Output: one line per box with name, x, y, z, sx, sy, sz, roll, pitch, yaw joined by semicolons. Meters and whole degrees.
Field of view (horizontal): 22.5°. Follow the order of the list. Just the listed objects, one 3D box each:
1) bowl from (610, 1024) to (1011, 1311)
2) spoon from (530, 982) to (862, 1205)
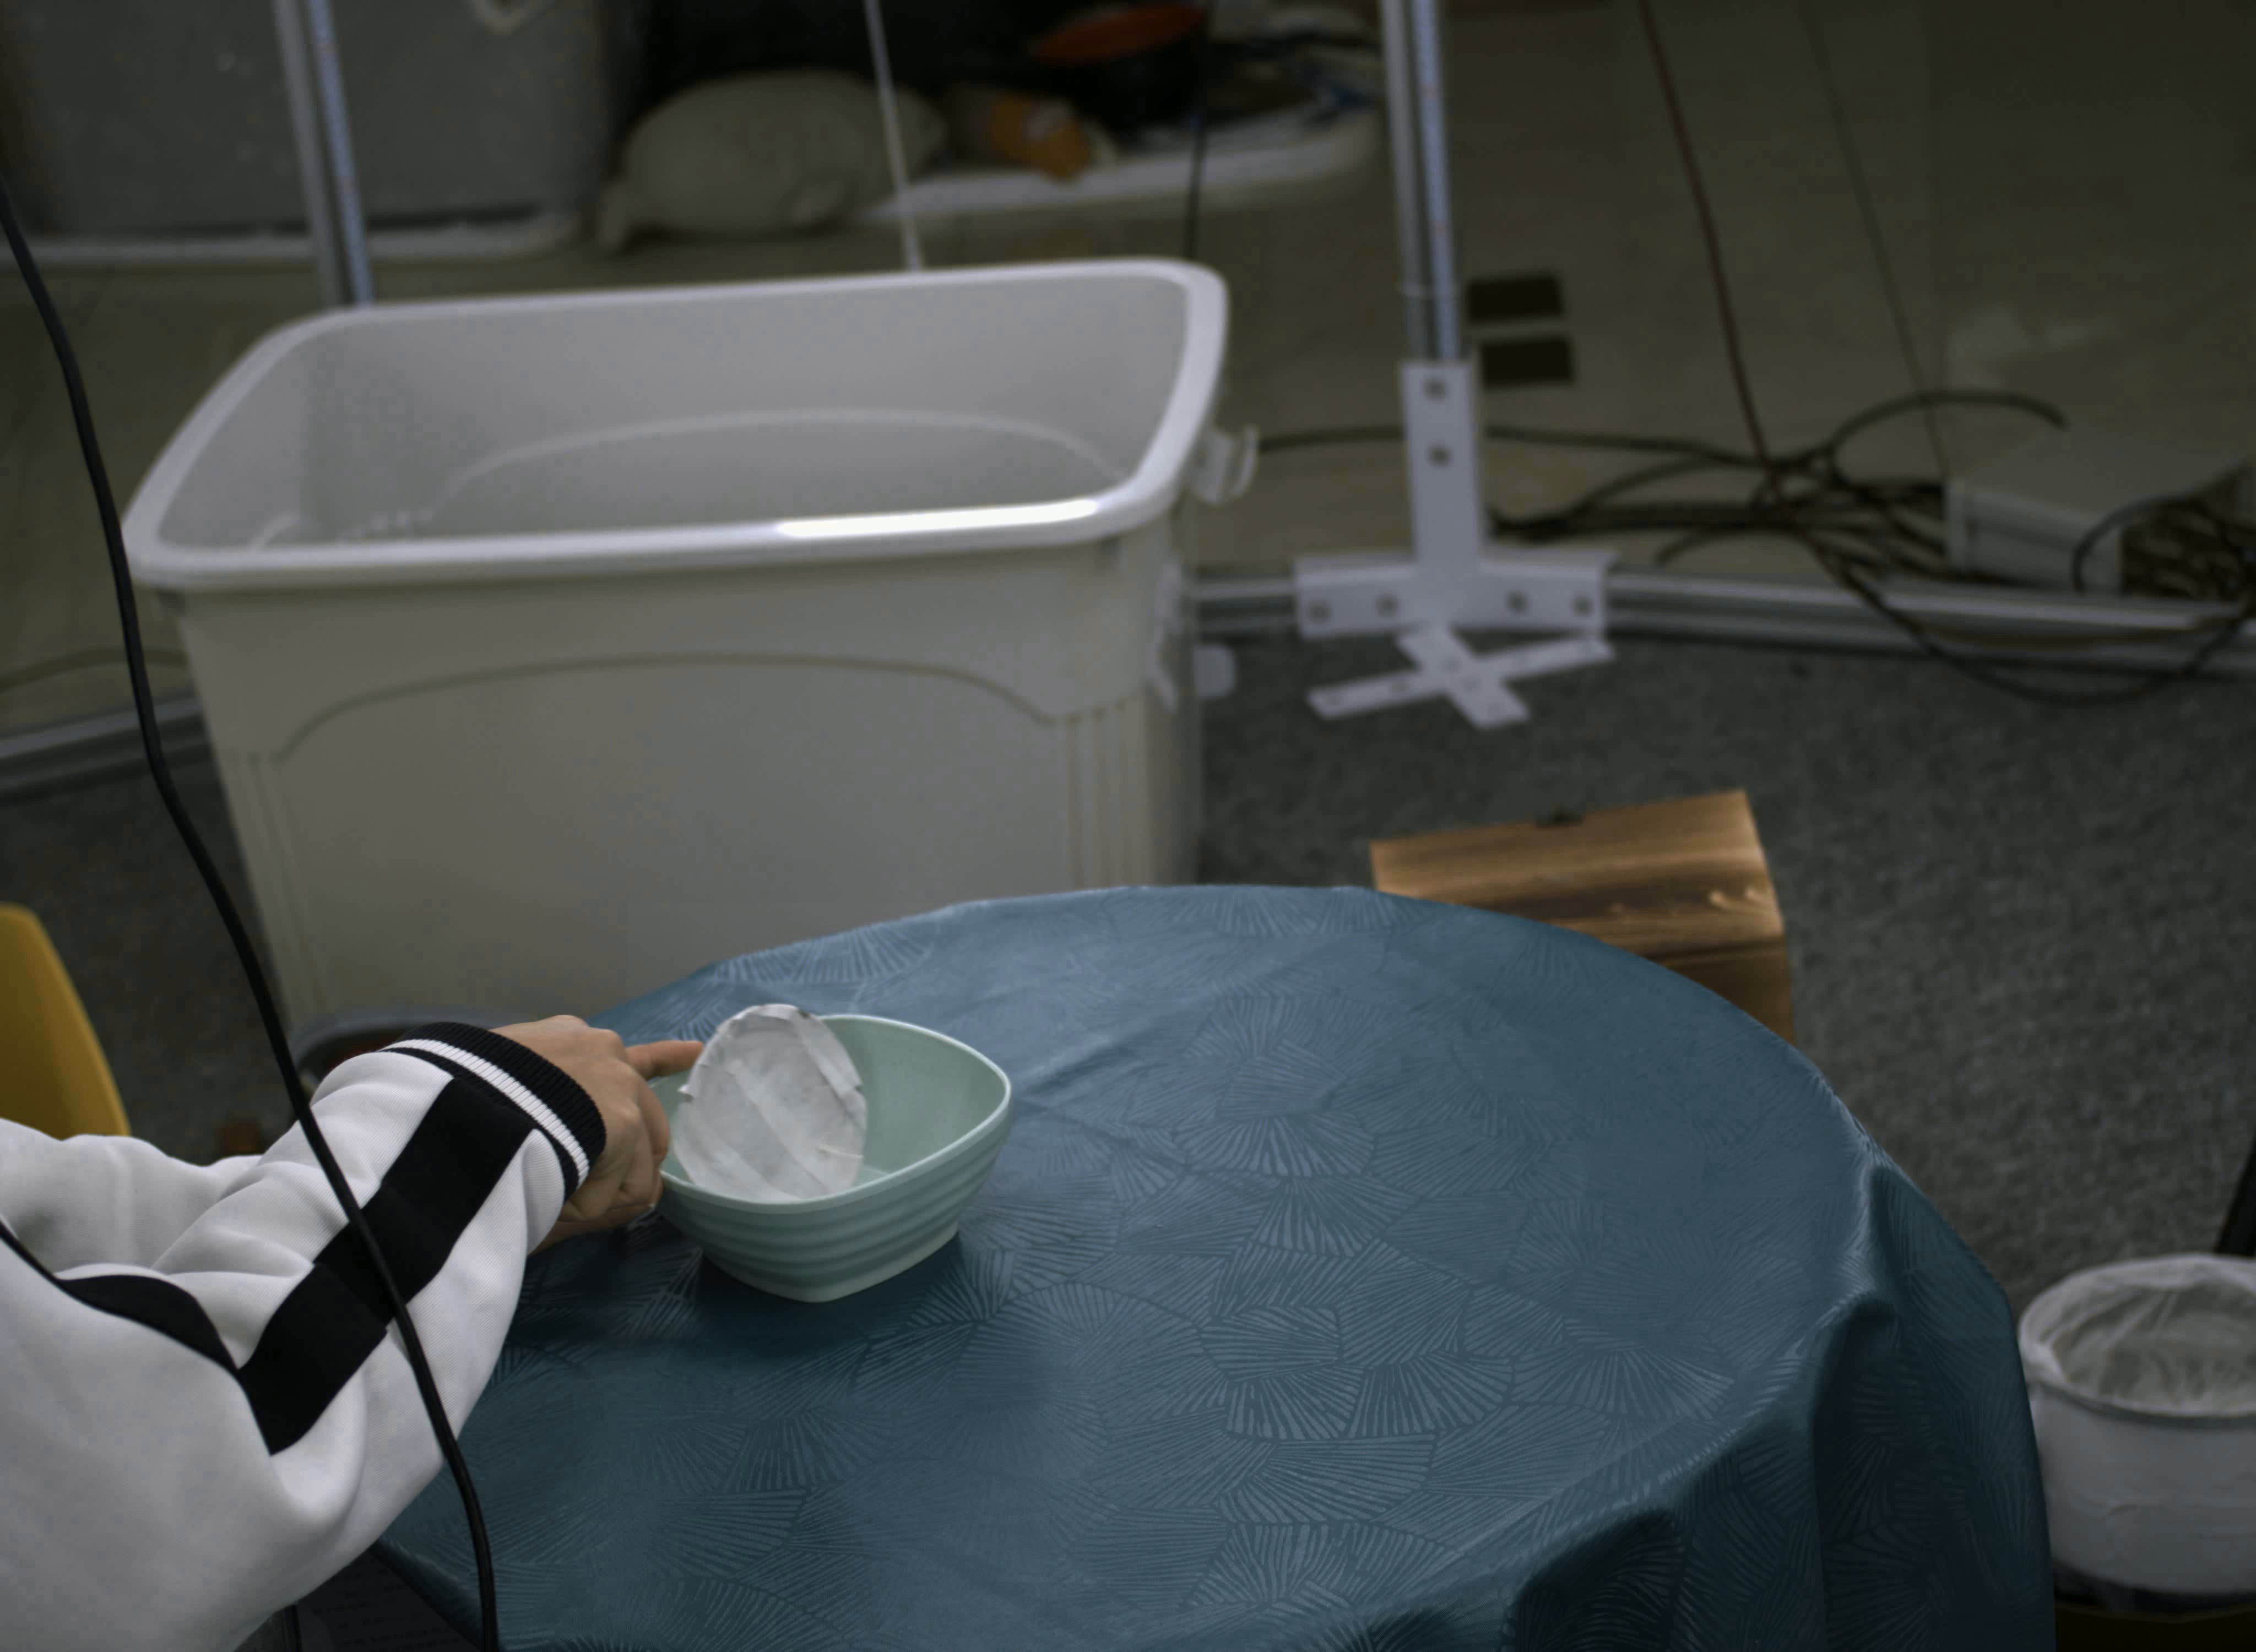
bowl;-0.116;0.133;2.127;0.151;0.059;0.149;-5;25;2
spoon;-0.150;0.101;2.014;0.059;0.100;0.278;-8;-6;8
